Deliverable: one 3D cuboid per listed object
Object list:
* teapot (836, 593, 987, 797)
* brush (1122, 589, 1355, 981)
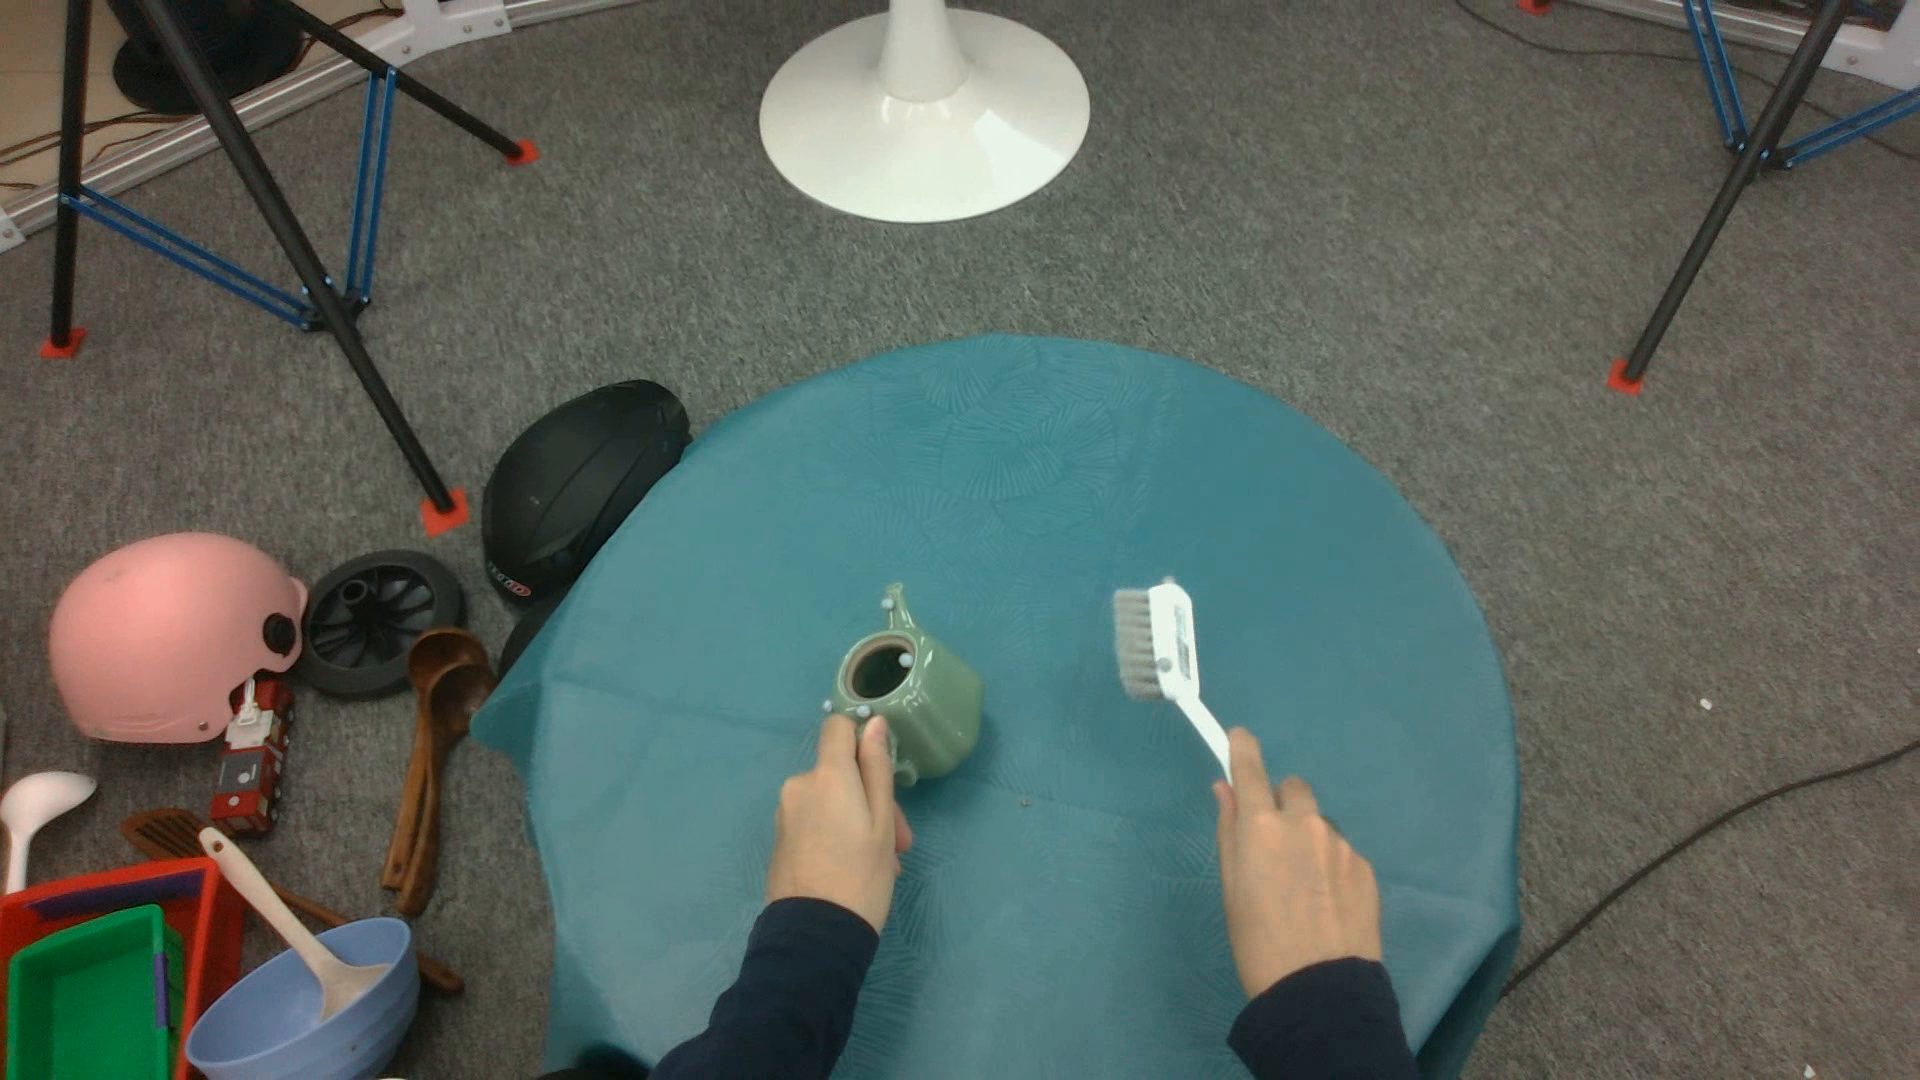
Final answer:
[{"bbox_3d":[-0.032,0.101,0.813,0.079,0.075,0.133,-13,44,23],"label":"teapot"},{"bbox_3d":[0.143,0.130,0.754,0.050,0.034,0.244,-28,58,14],"label":"brush"}]
